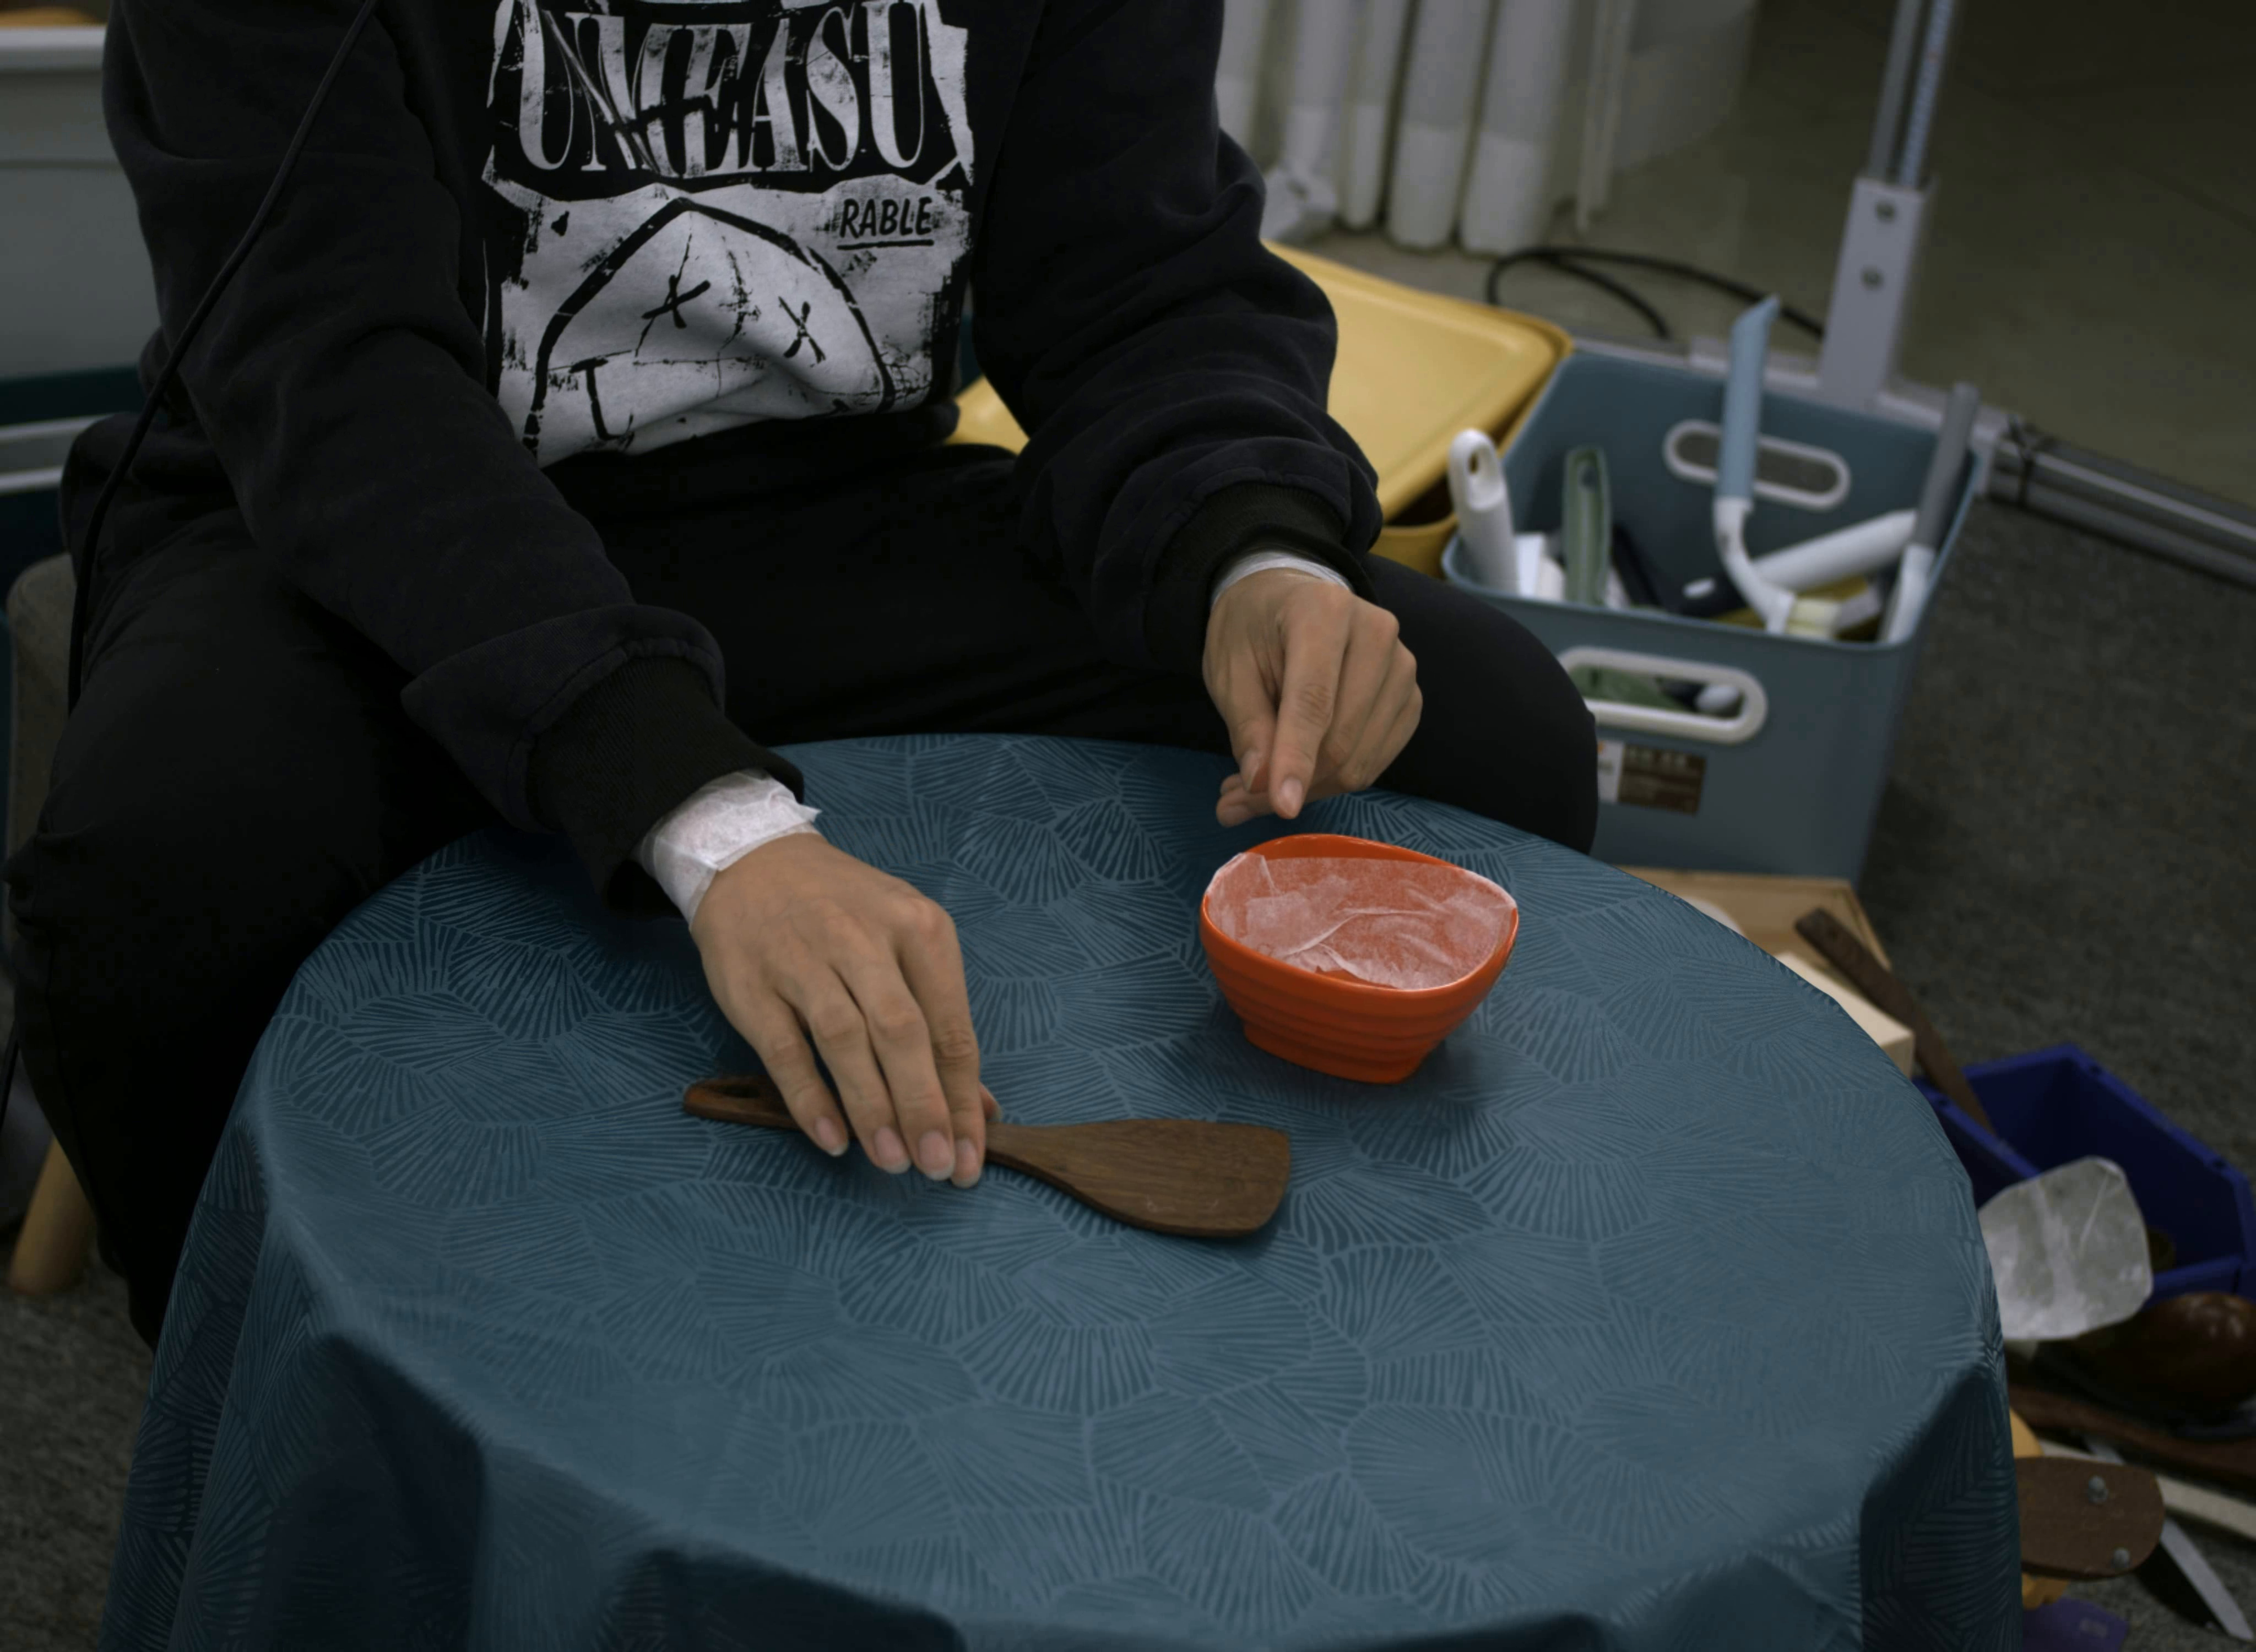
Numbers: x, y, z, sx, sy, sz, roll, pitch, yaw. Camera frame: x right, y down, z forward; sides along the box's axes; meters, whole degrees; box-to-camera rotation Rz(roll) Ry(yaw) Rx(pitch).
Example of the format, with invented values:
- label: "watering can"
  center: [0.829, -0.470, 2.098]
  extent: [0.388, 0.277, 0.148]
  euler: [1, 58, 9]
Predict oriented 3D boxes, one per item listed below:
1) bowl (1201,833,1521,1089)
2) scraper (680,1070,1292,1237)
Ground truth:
- label: "bowl"
  center: [0.081, 0.052, 1.905]
  extent: [0.118, 0.051, 0.119]
  euler: [5, 29, -3]
- label: "scraper"
  center: [-0.049, 0.107, 1.813]
  extent: [0.211, 0.011, 0.076]
  euler: [9, 26, 7]
